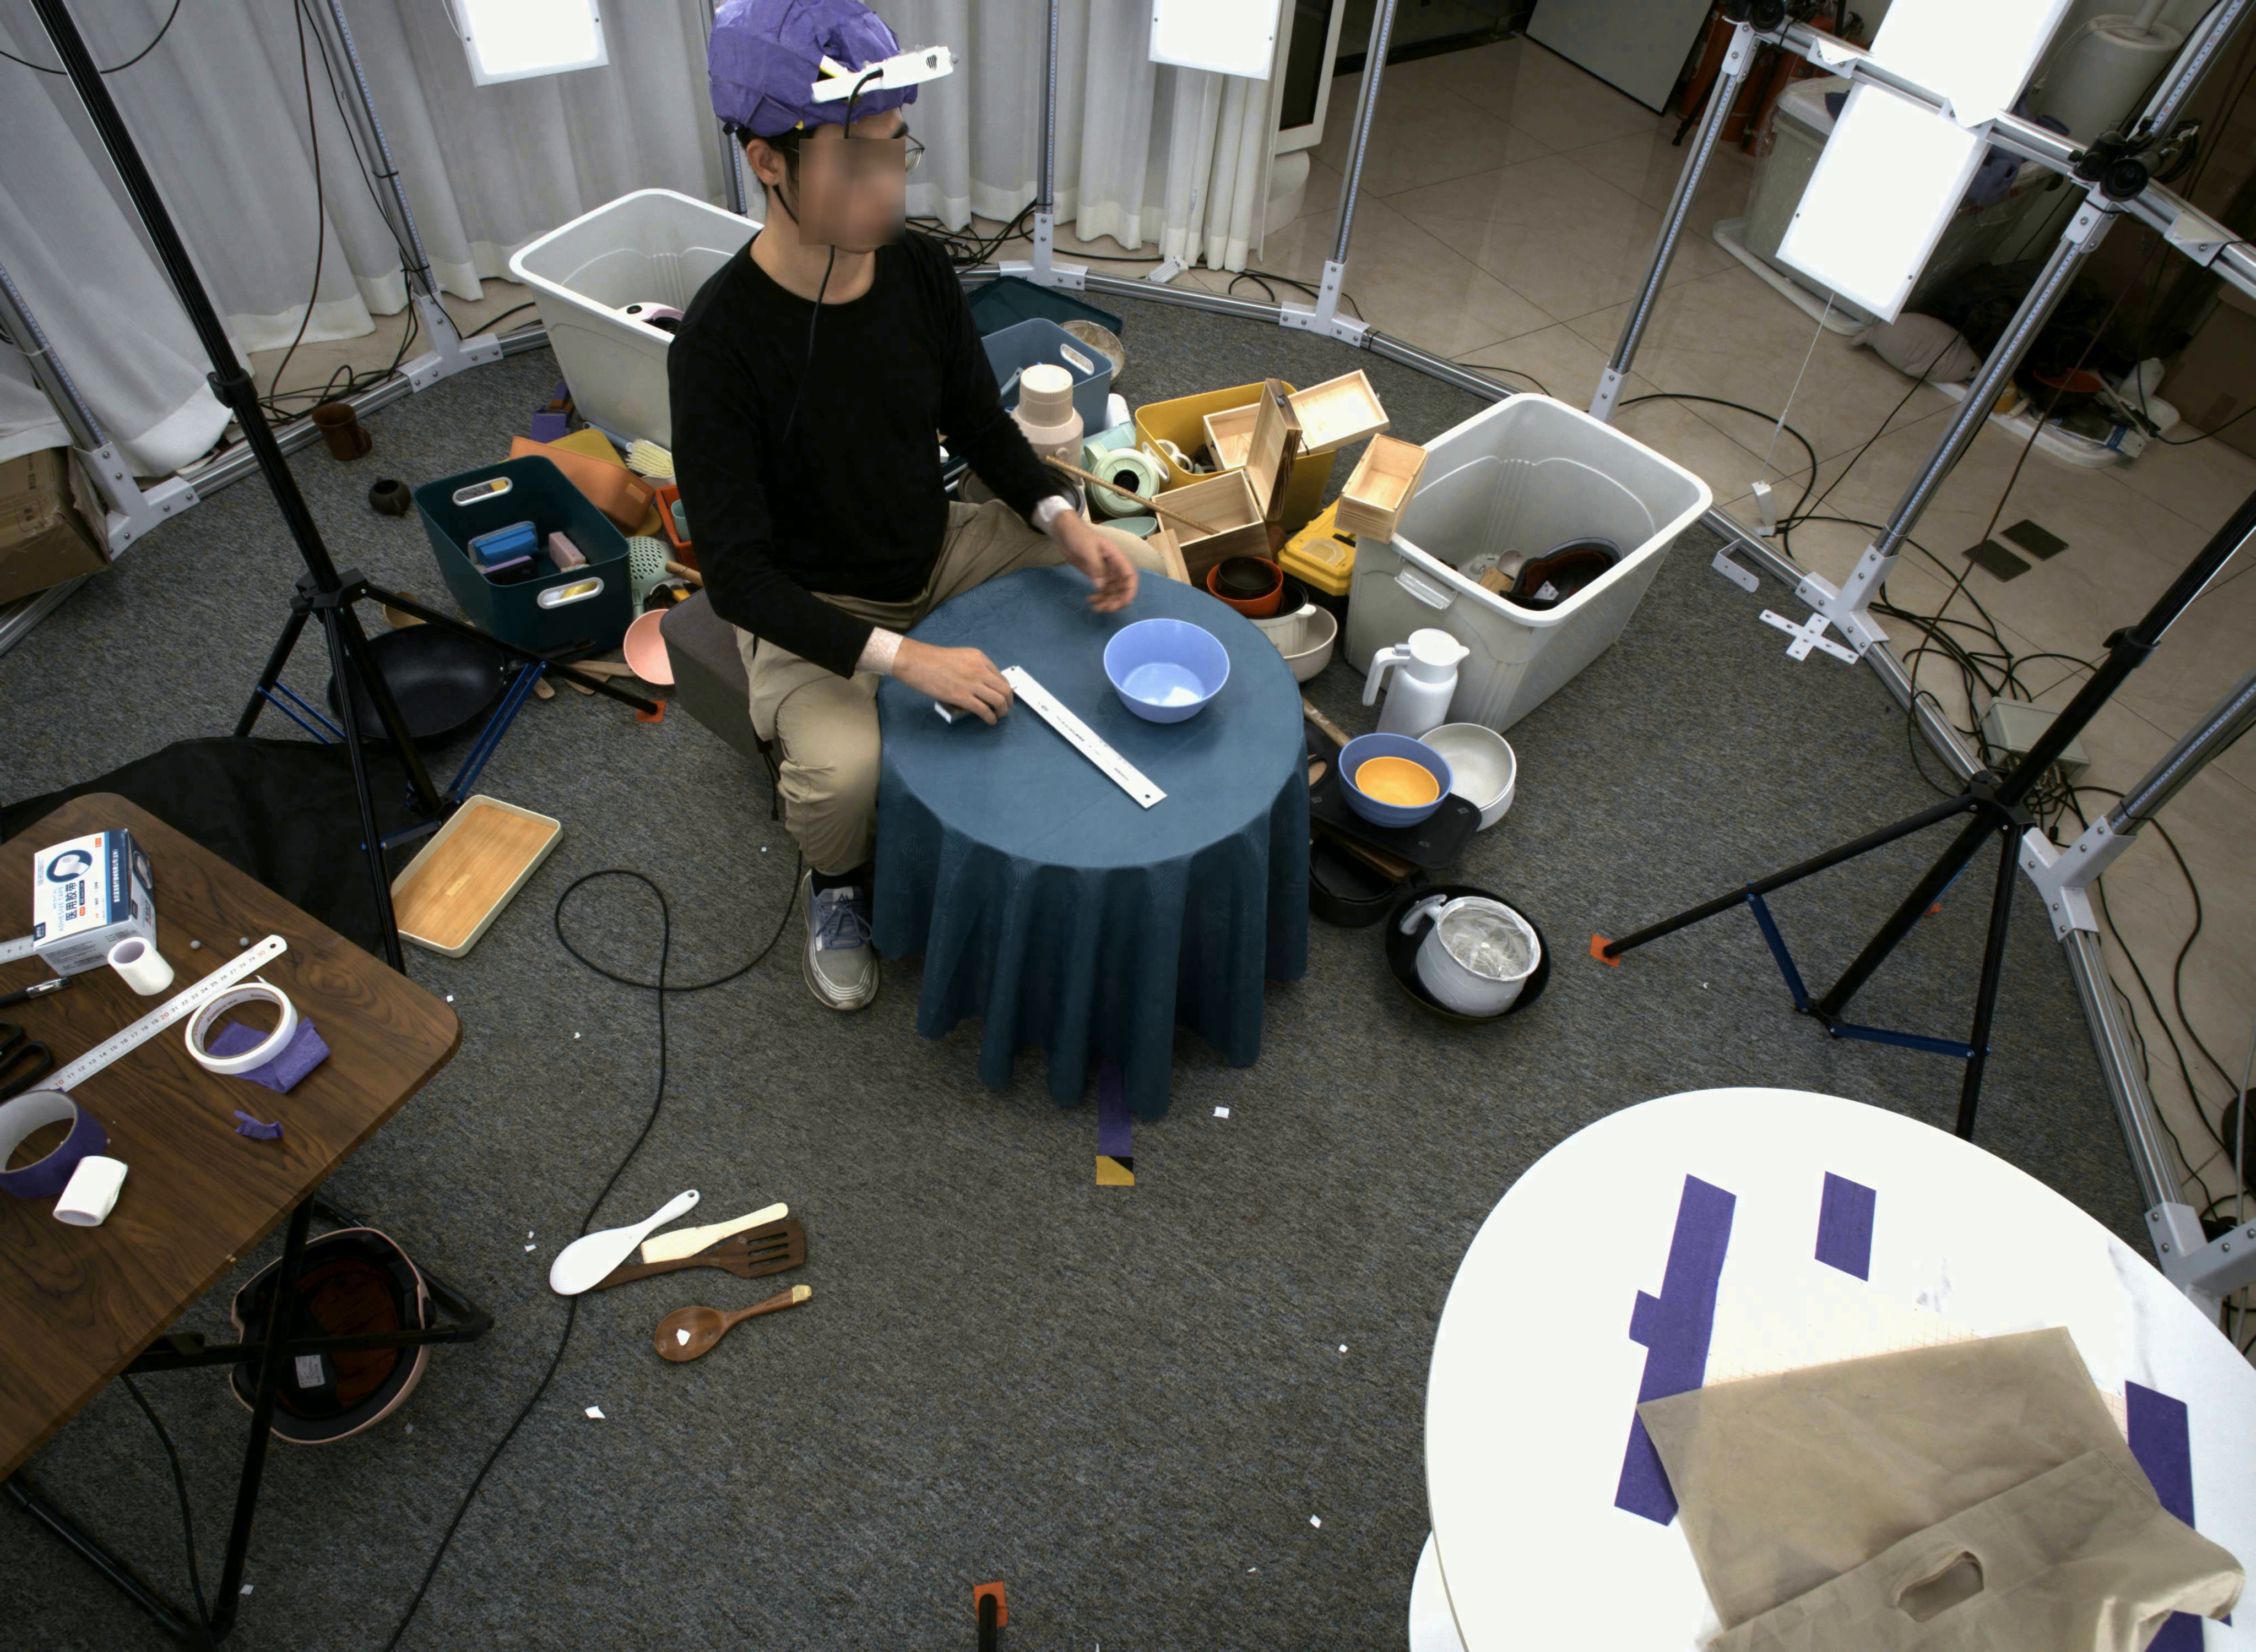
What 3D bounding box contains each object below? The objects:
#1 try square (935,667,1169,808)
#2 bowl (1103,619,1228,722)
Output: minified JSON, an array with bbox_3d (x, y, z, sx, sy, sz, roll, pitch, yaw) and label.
[{"bbox_3d":[-0.106,-0.101,1.739,0.153,0.015,0.318,-32,60,-31],"label":"try square"},{"bbox_3d":[0.050,-0.211,1.811,0.176,0.068,0.180,2,50,-2],"label":"bowl"}]
